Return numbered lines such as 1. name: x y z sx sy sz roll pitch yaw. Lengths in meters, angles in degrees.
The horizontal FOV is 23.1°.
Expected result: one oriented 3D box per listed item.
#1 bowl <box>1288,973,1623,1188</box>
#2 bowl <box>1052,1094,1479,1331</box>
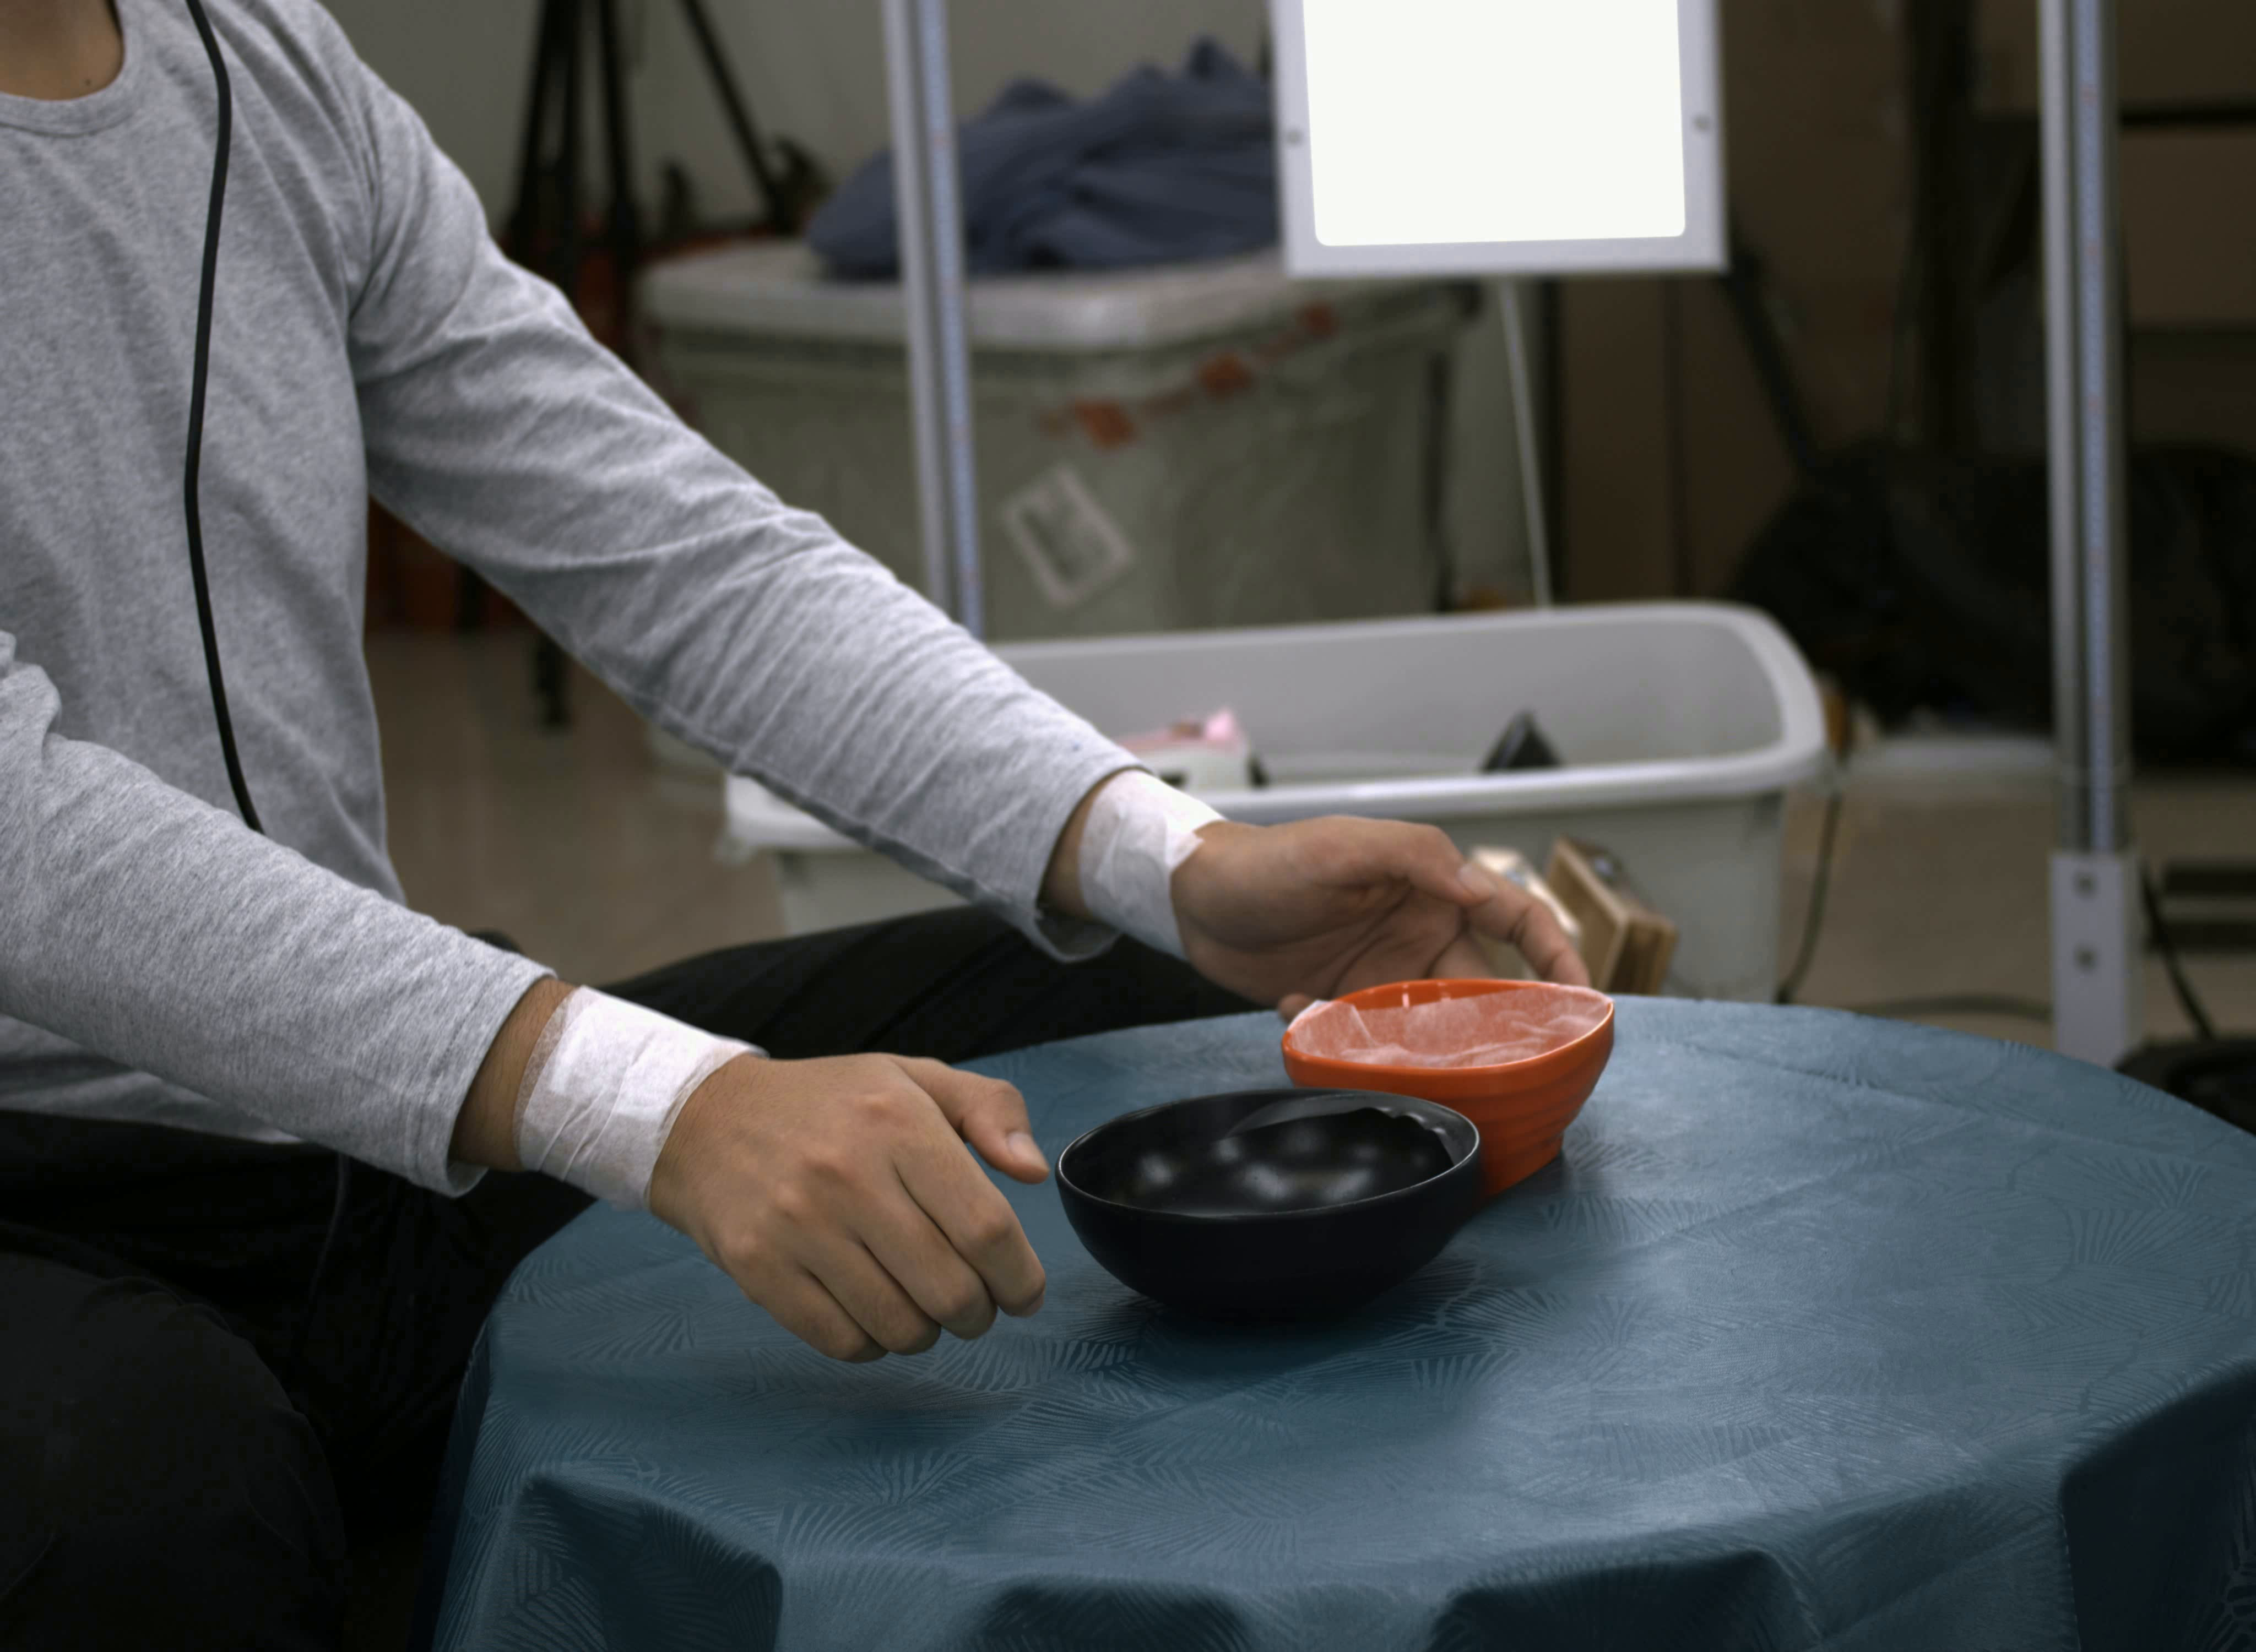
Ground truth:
1. bowl: 0.115 0.090 1.901 0.118 0.051 0.119 -6 15 0
2. bowl: 0.047 0.129 1.779 0.140 0.050 0.140 -7 12 0
